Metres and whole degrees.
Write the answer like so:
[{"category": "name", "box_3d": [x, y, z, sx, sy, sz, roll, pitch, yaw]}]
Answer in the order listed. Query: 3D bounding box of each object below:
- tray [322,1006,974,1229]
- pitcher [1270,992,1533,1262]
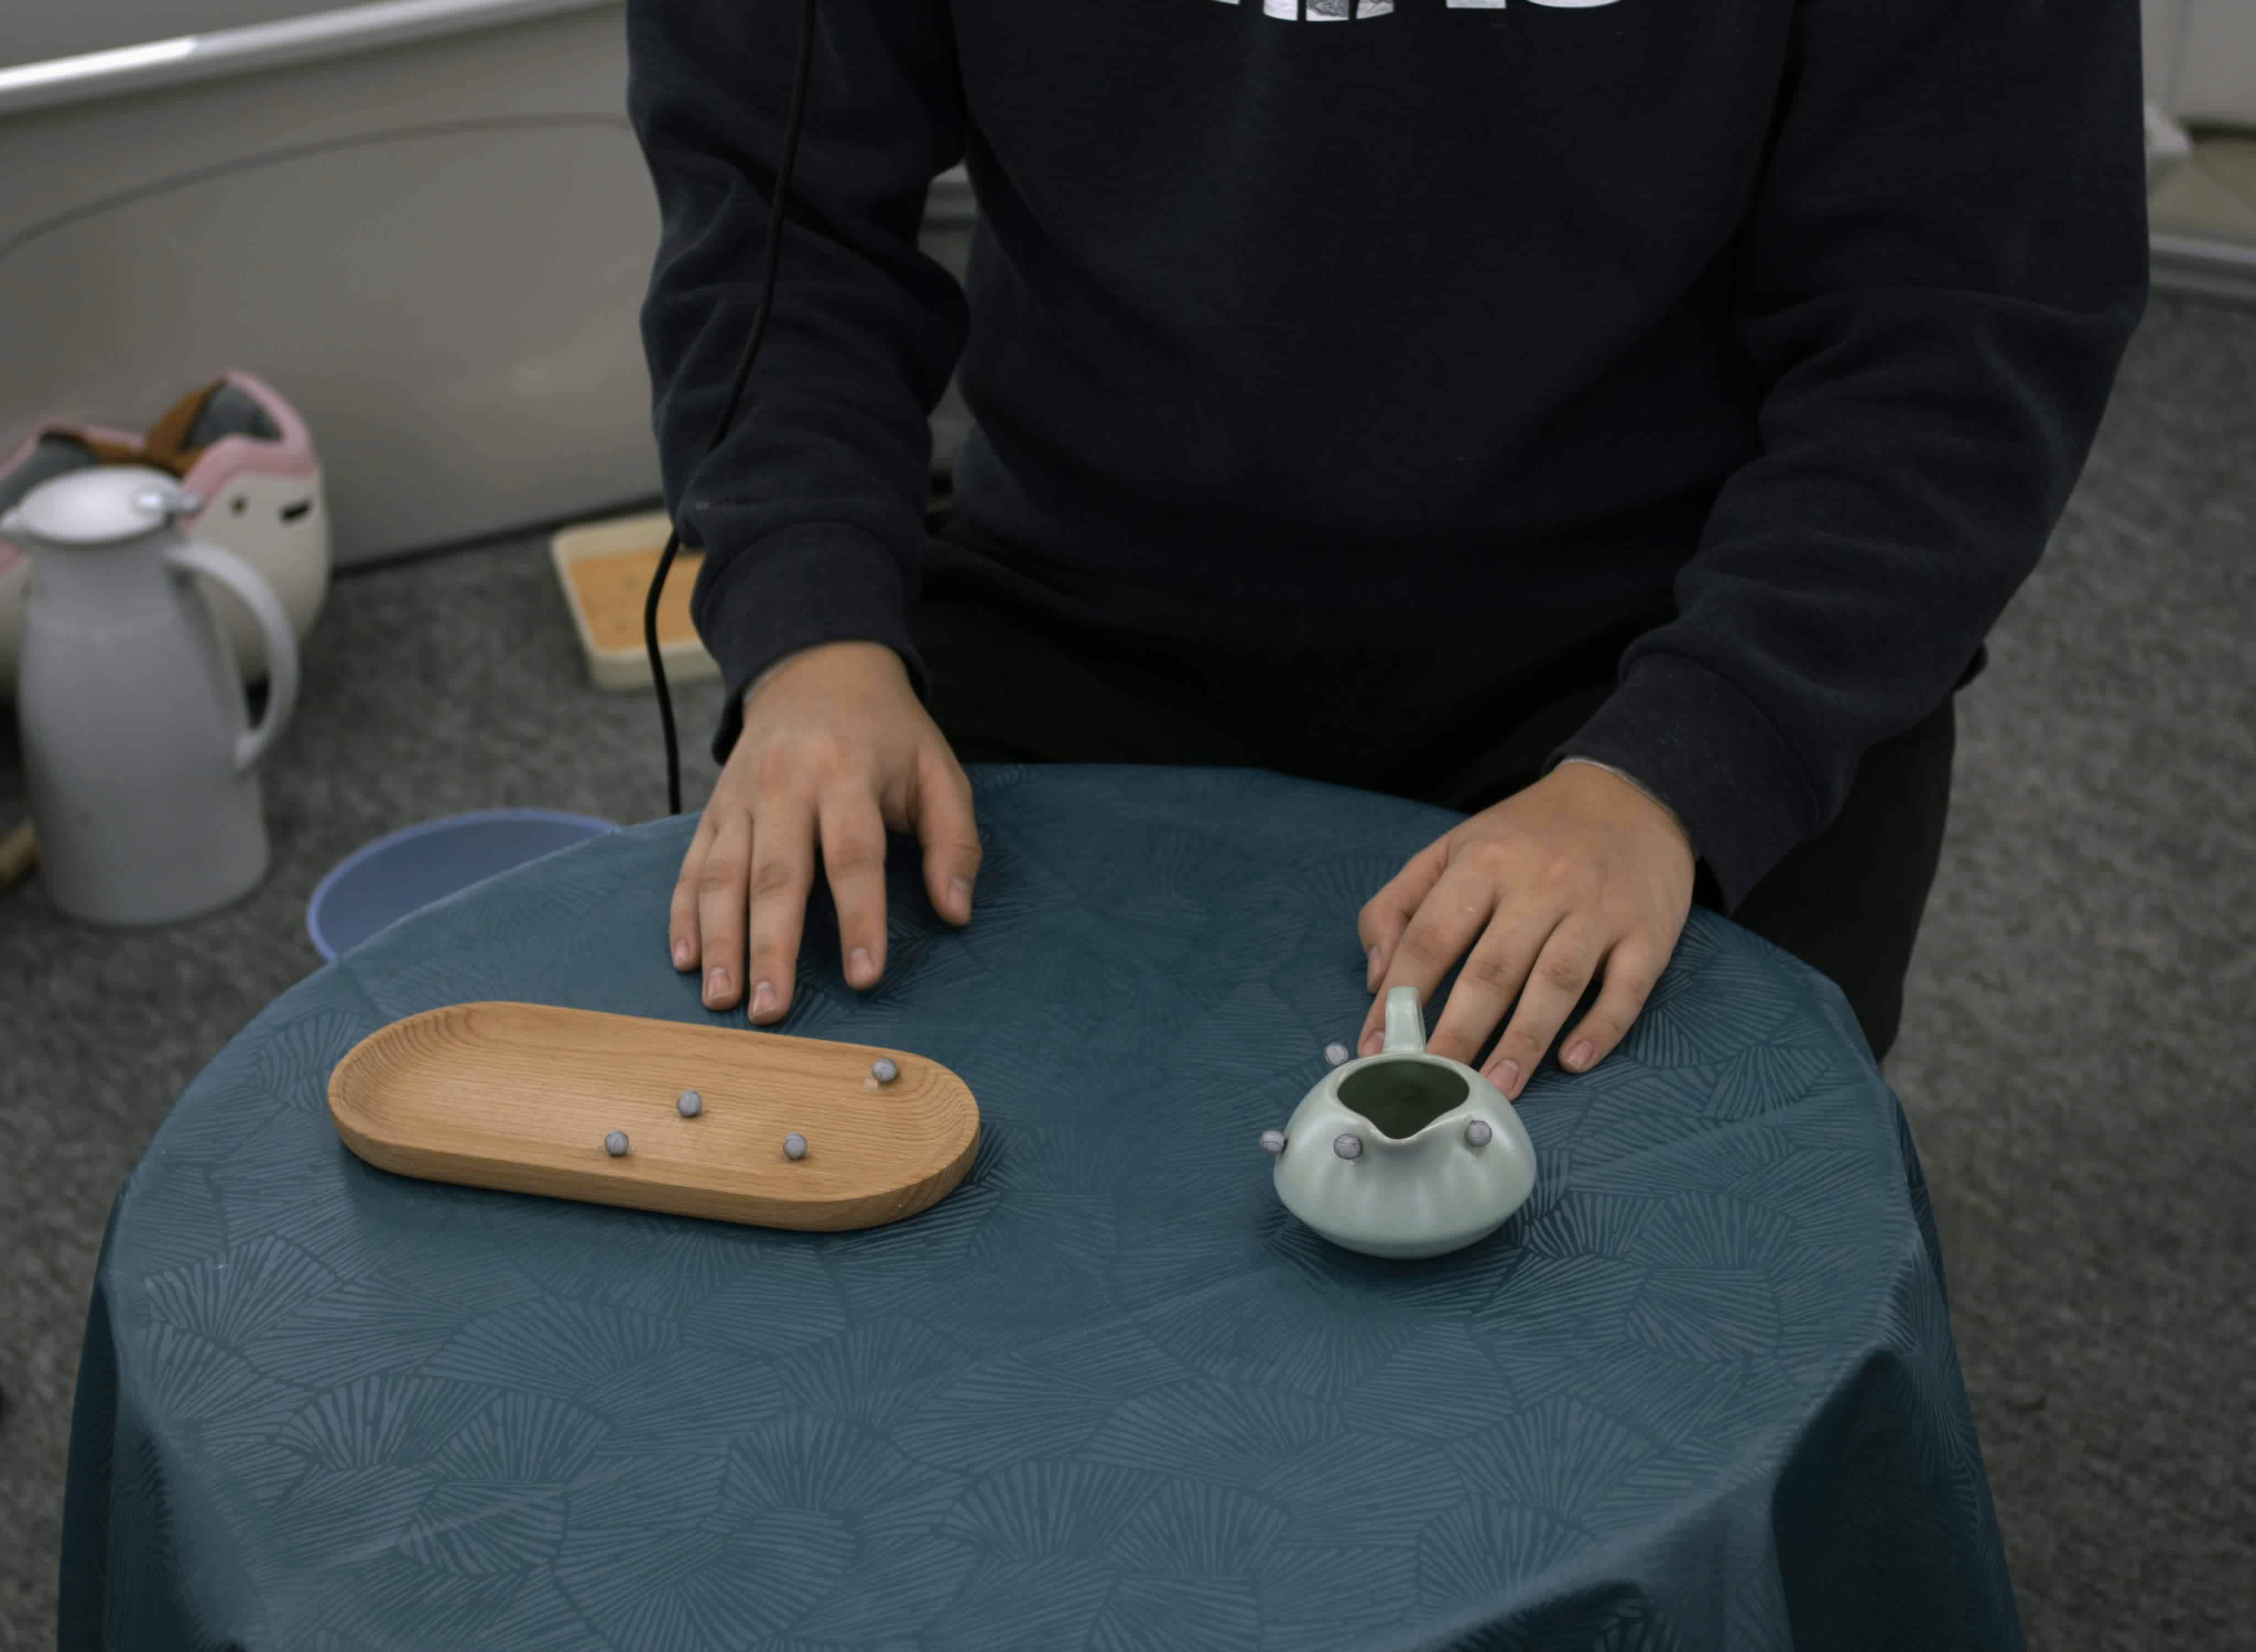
[{"category": "tray", "box_3d": [-0.163, 0.099, 1.906, 0.229, 0.020, 0.103, 4, 27, 17]}, {"category": "pitcher", "box_3d": [0.089, 0.100, 1.839, 0.085, 0.060, 0.109, 0, 25, 2]}]
